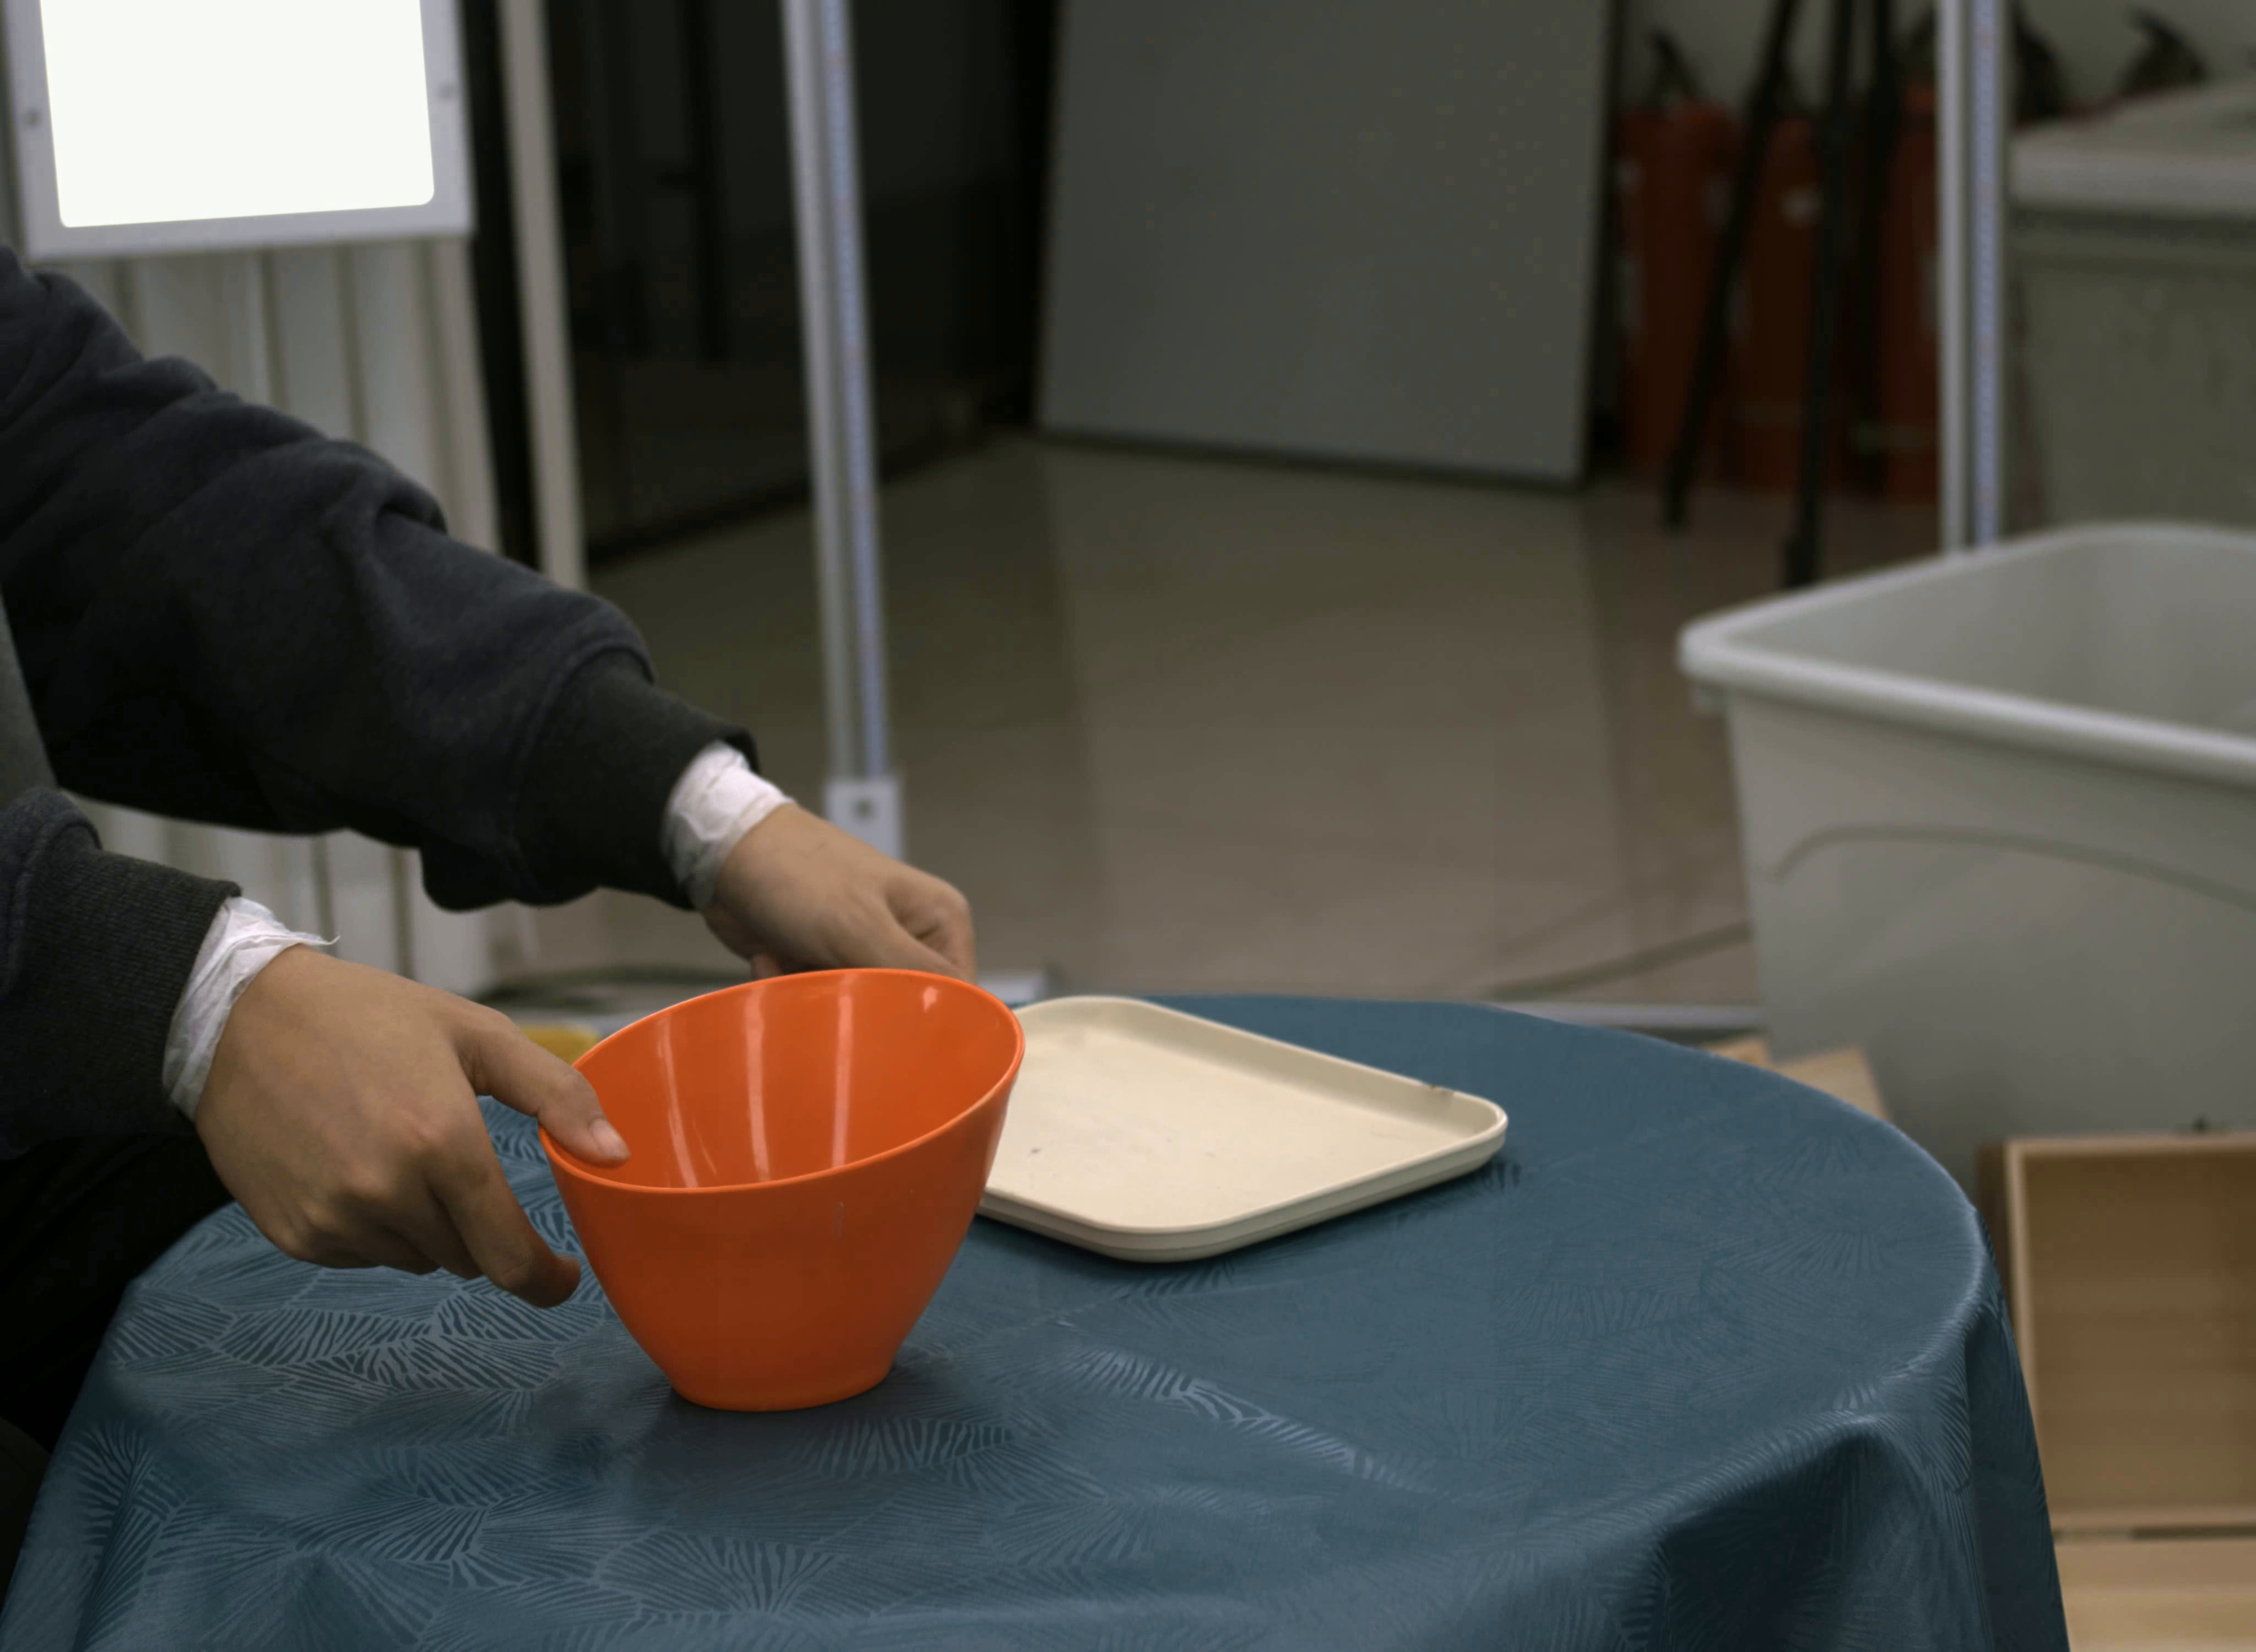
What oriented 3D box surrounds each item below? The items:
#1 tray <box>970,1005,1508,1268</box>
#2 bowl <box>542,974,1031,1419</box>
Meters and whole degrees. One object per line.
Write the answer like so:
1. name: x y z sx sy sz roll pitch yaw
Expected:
1. tray: -0.001 0.103 1.808 0.167 0.017 0.242 -15 17 -36
2. bowl: -0.100 0.114 1.613 0.146 0.106 0.148 -2 14 0
